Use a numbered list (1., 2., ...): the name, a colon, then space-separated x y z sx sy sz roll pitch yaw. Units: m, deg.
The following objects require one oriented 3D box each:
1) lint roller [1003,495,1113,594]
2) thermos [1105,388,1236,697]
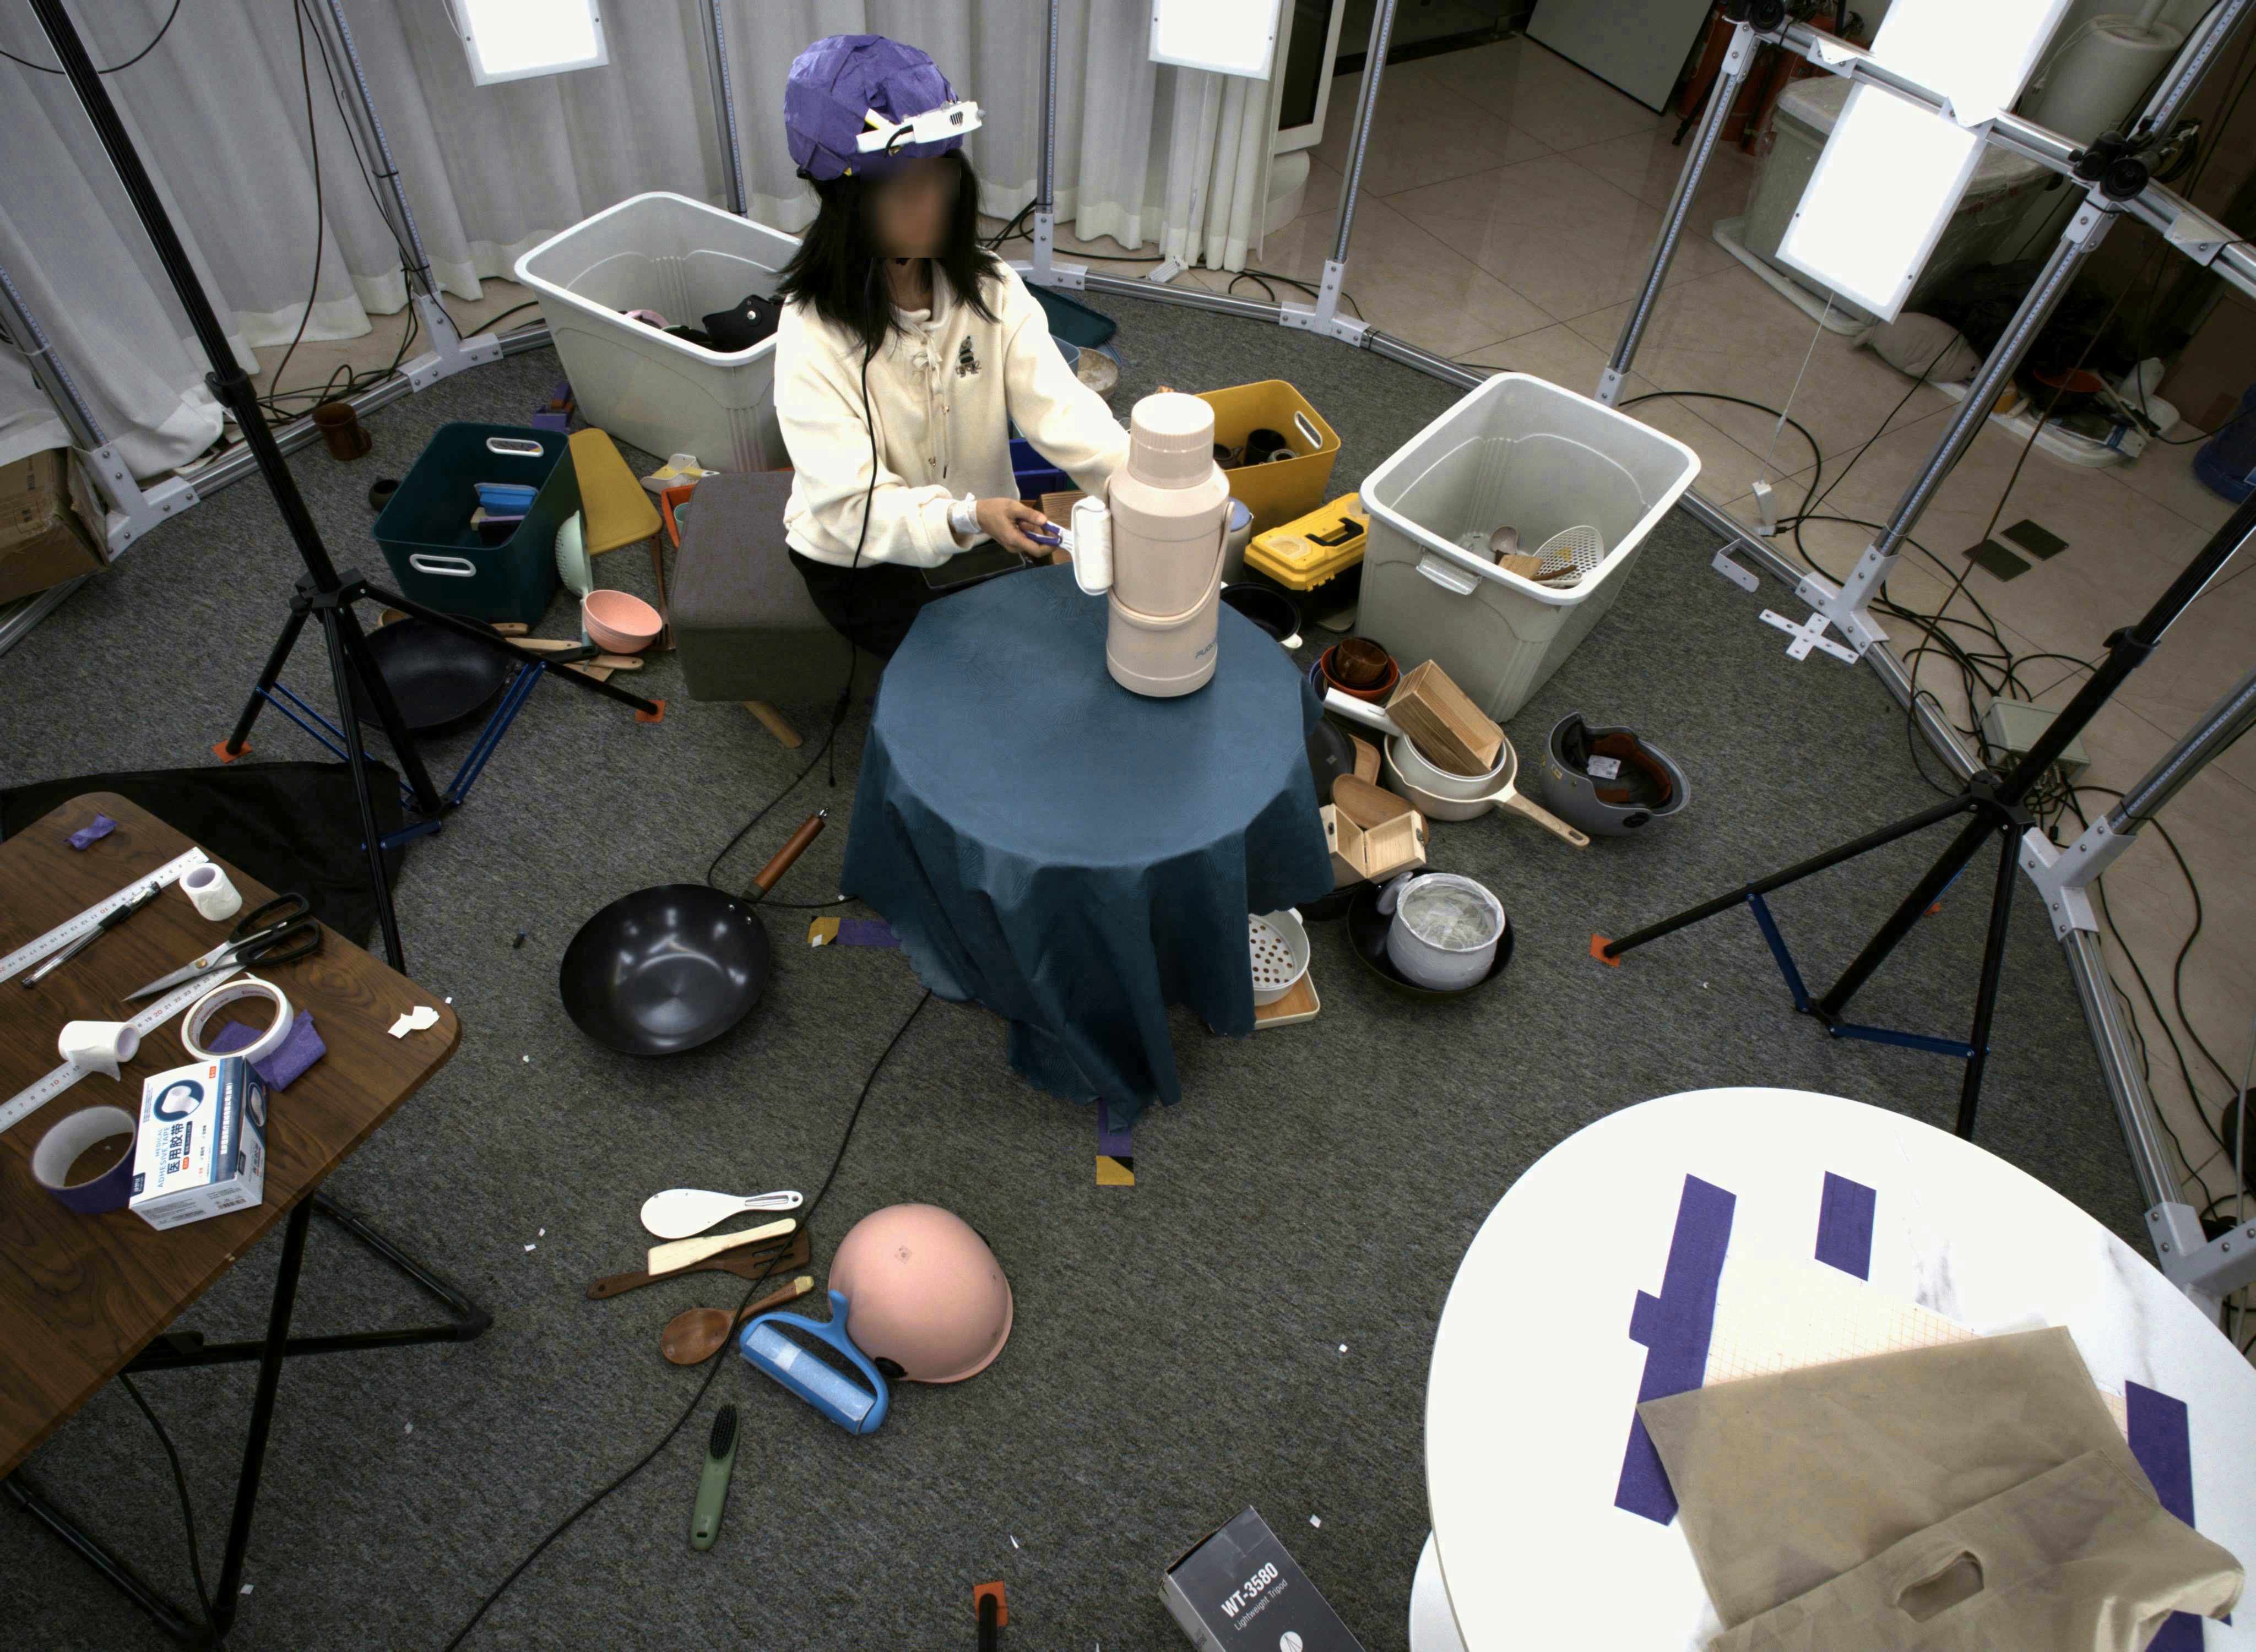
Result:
1. lint roller: -0.102 -0.391 1.736 0.182 0.130 0.051 18 40 23
2. thermos: 0.059 -0.385 1.746 0.176 0.396 0.211 15 46 15
